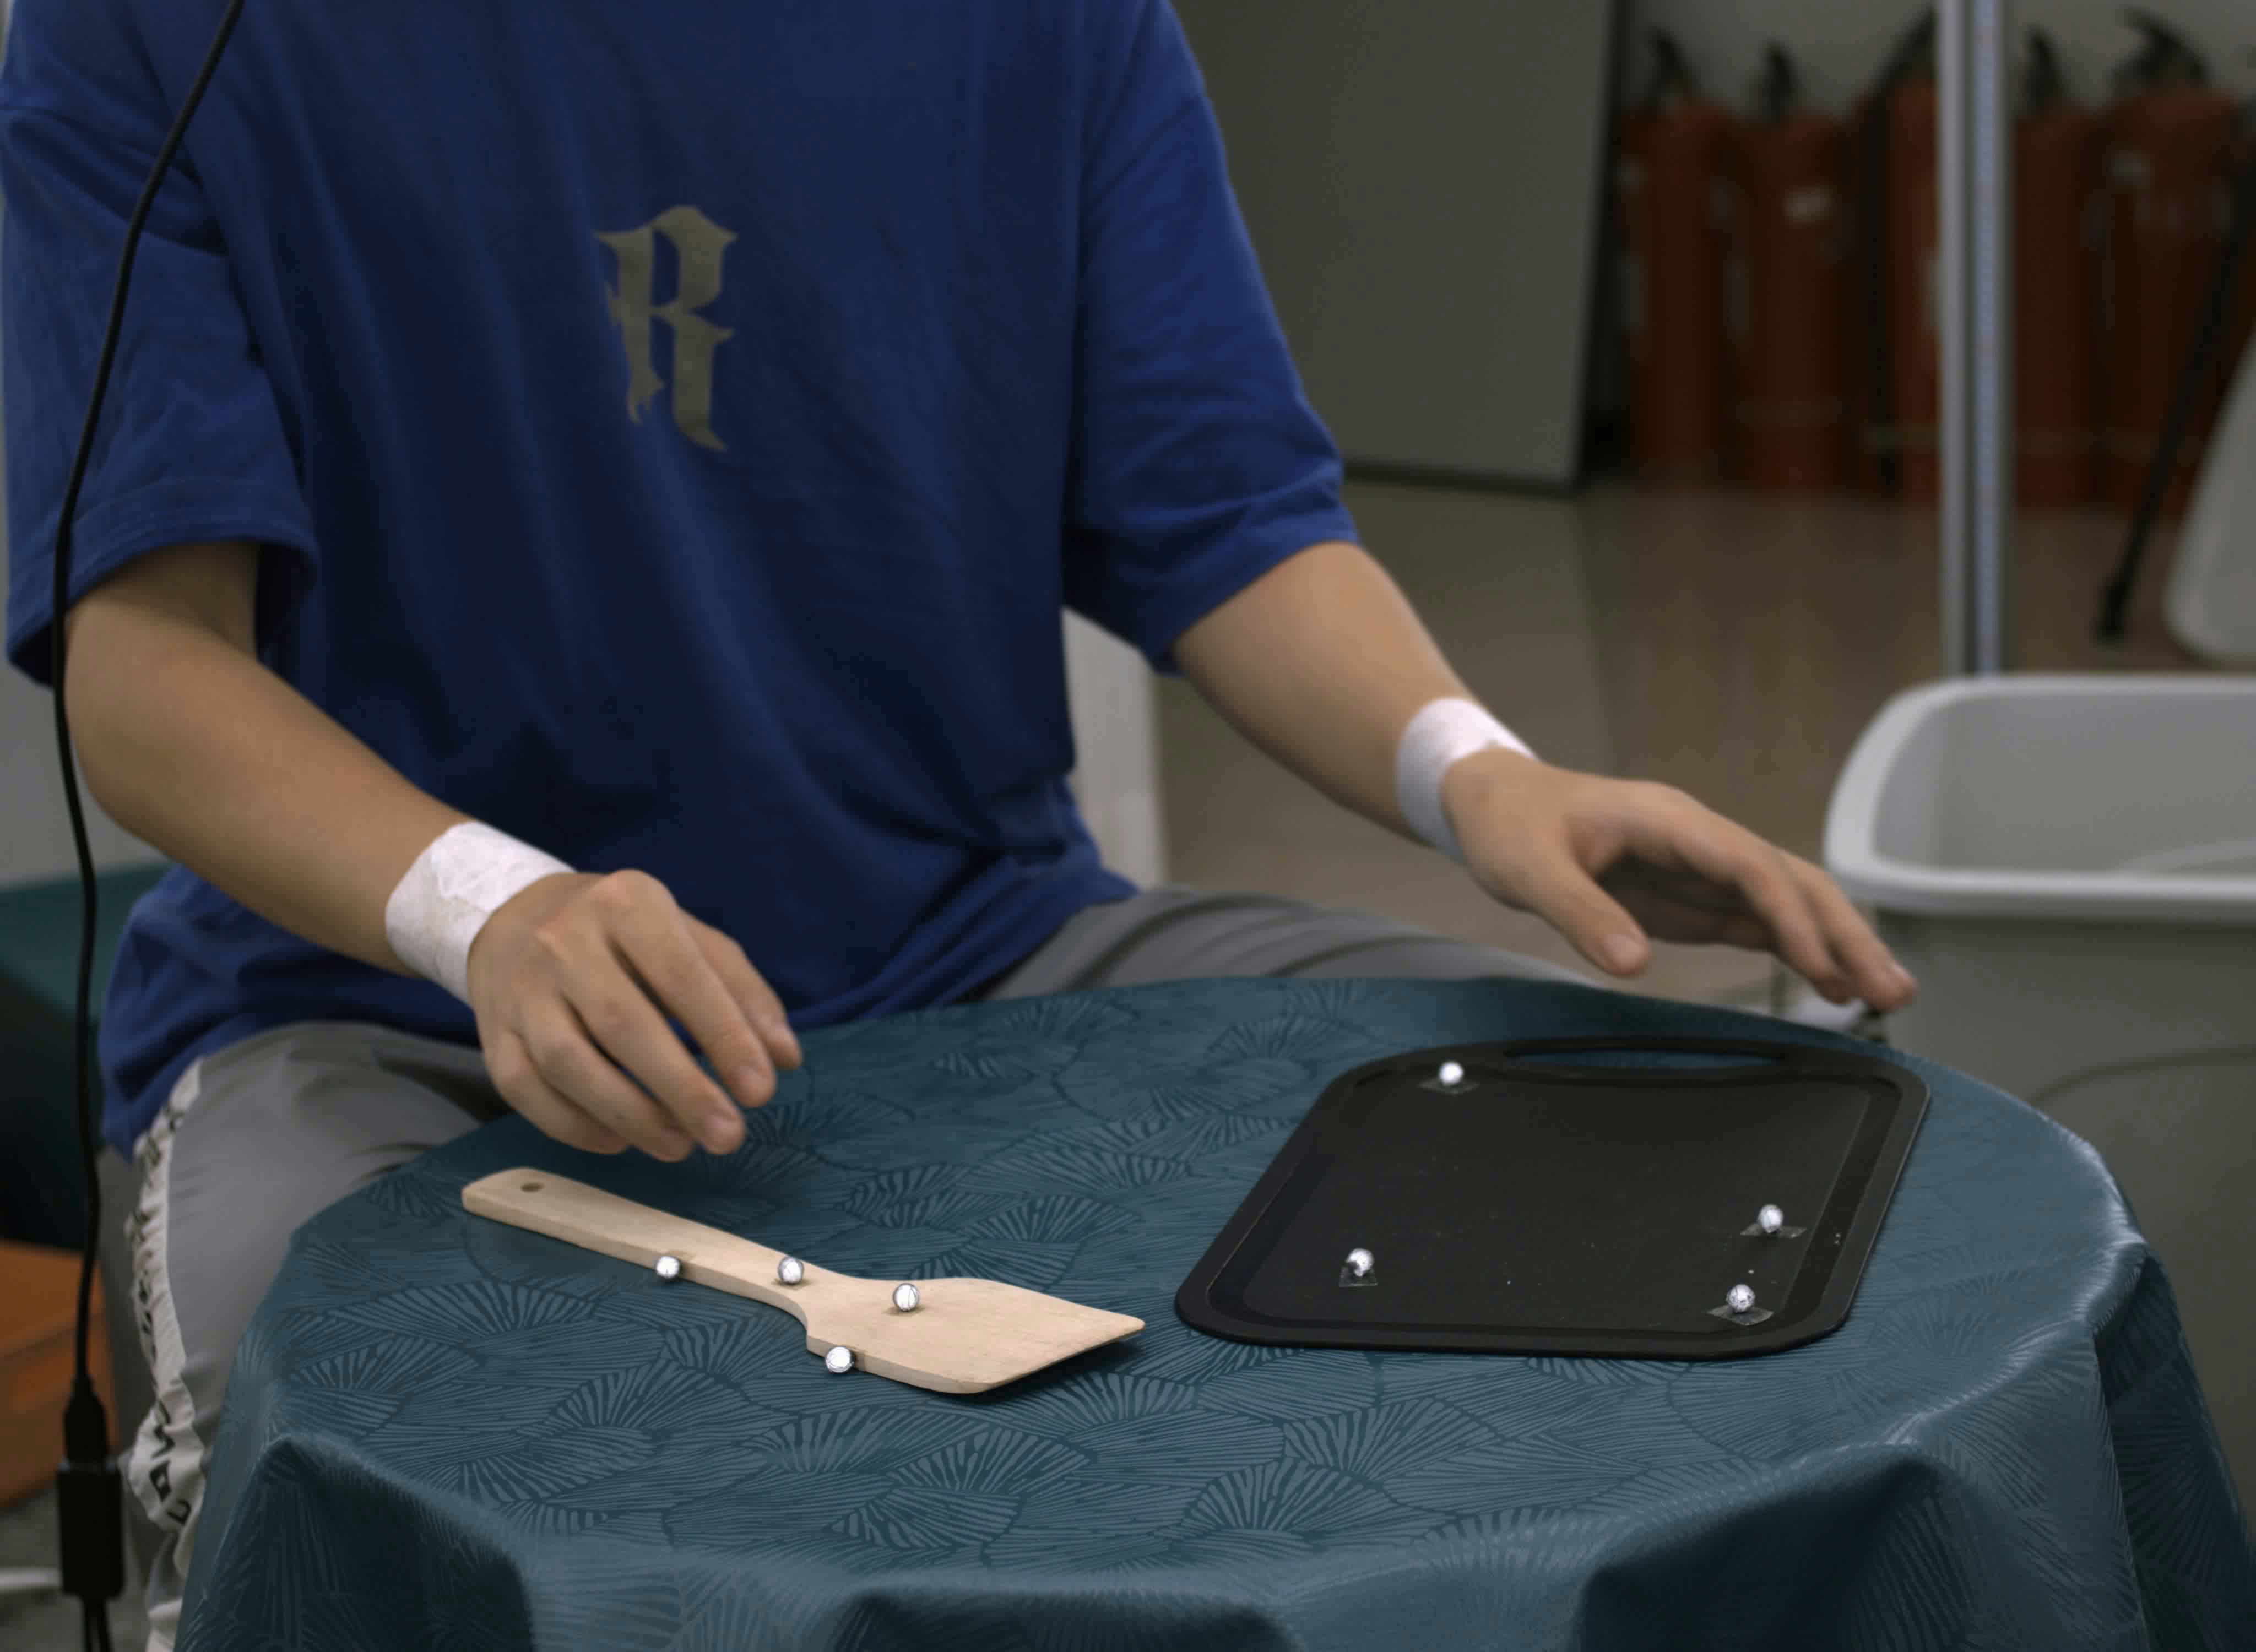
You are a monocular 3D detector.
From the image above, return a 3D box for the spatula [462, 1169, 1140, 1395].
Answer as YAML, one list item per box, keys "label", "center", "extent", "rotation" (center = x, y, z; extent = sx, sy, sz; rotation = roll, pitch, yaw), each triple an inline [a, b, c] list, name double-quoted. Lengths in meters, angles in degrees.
- label: "spatula"
  center: [-0.117, 0.141, 1.706]
  extent: [0.071, 0.011, 0.296]
  rotation: [-17, 19, -40]

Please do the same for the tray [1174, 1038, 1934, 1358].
- label: "tray"
  center: [0.145, 0.114, 1.744]
  extent: [0.210, 0.010, 0.323]
  rotation: [0, 14, 16]
